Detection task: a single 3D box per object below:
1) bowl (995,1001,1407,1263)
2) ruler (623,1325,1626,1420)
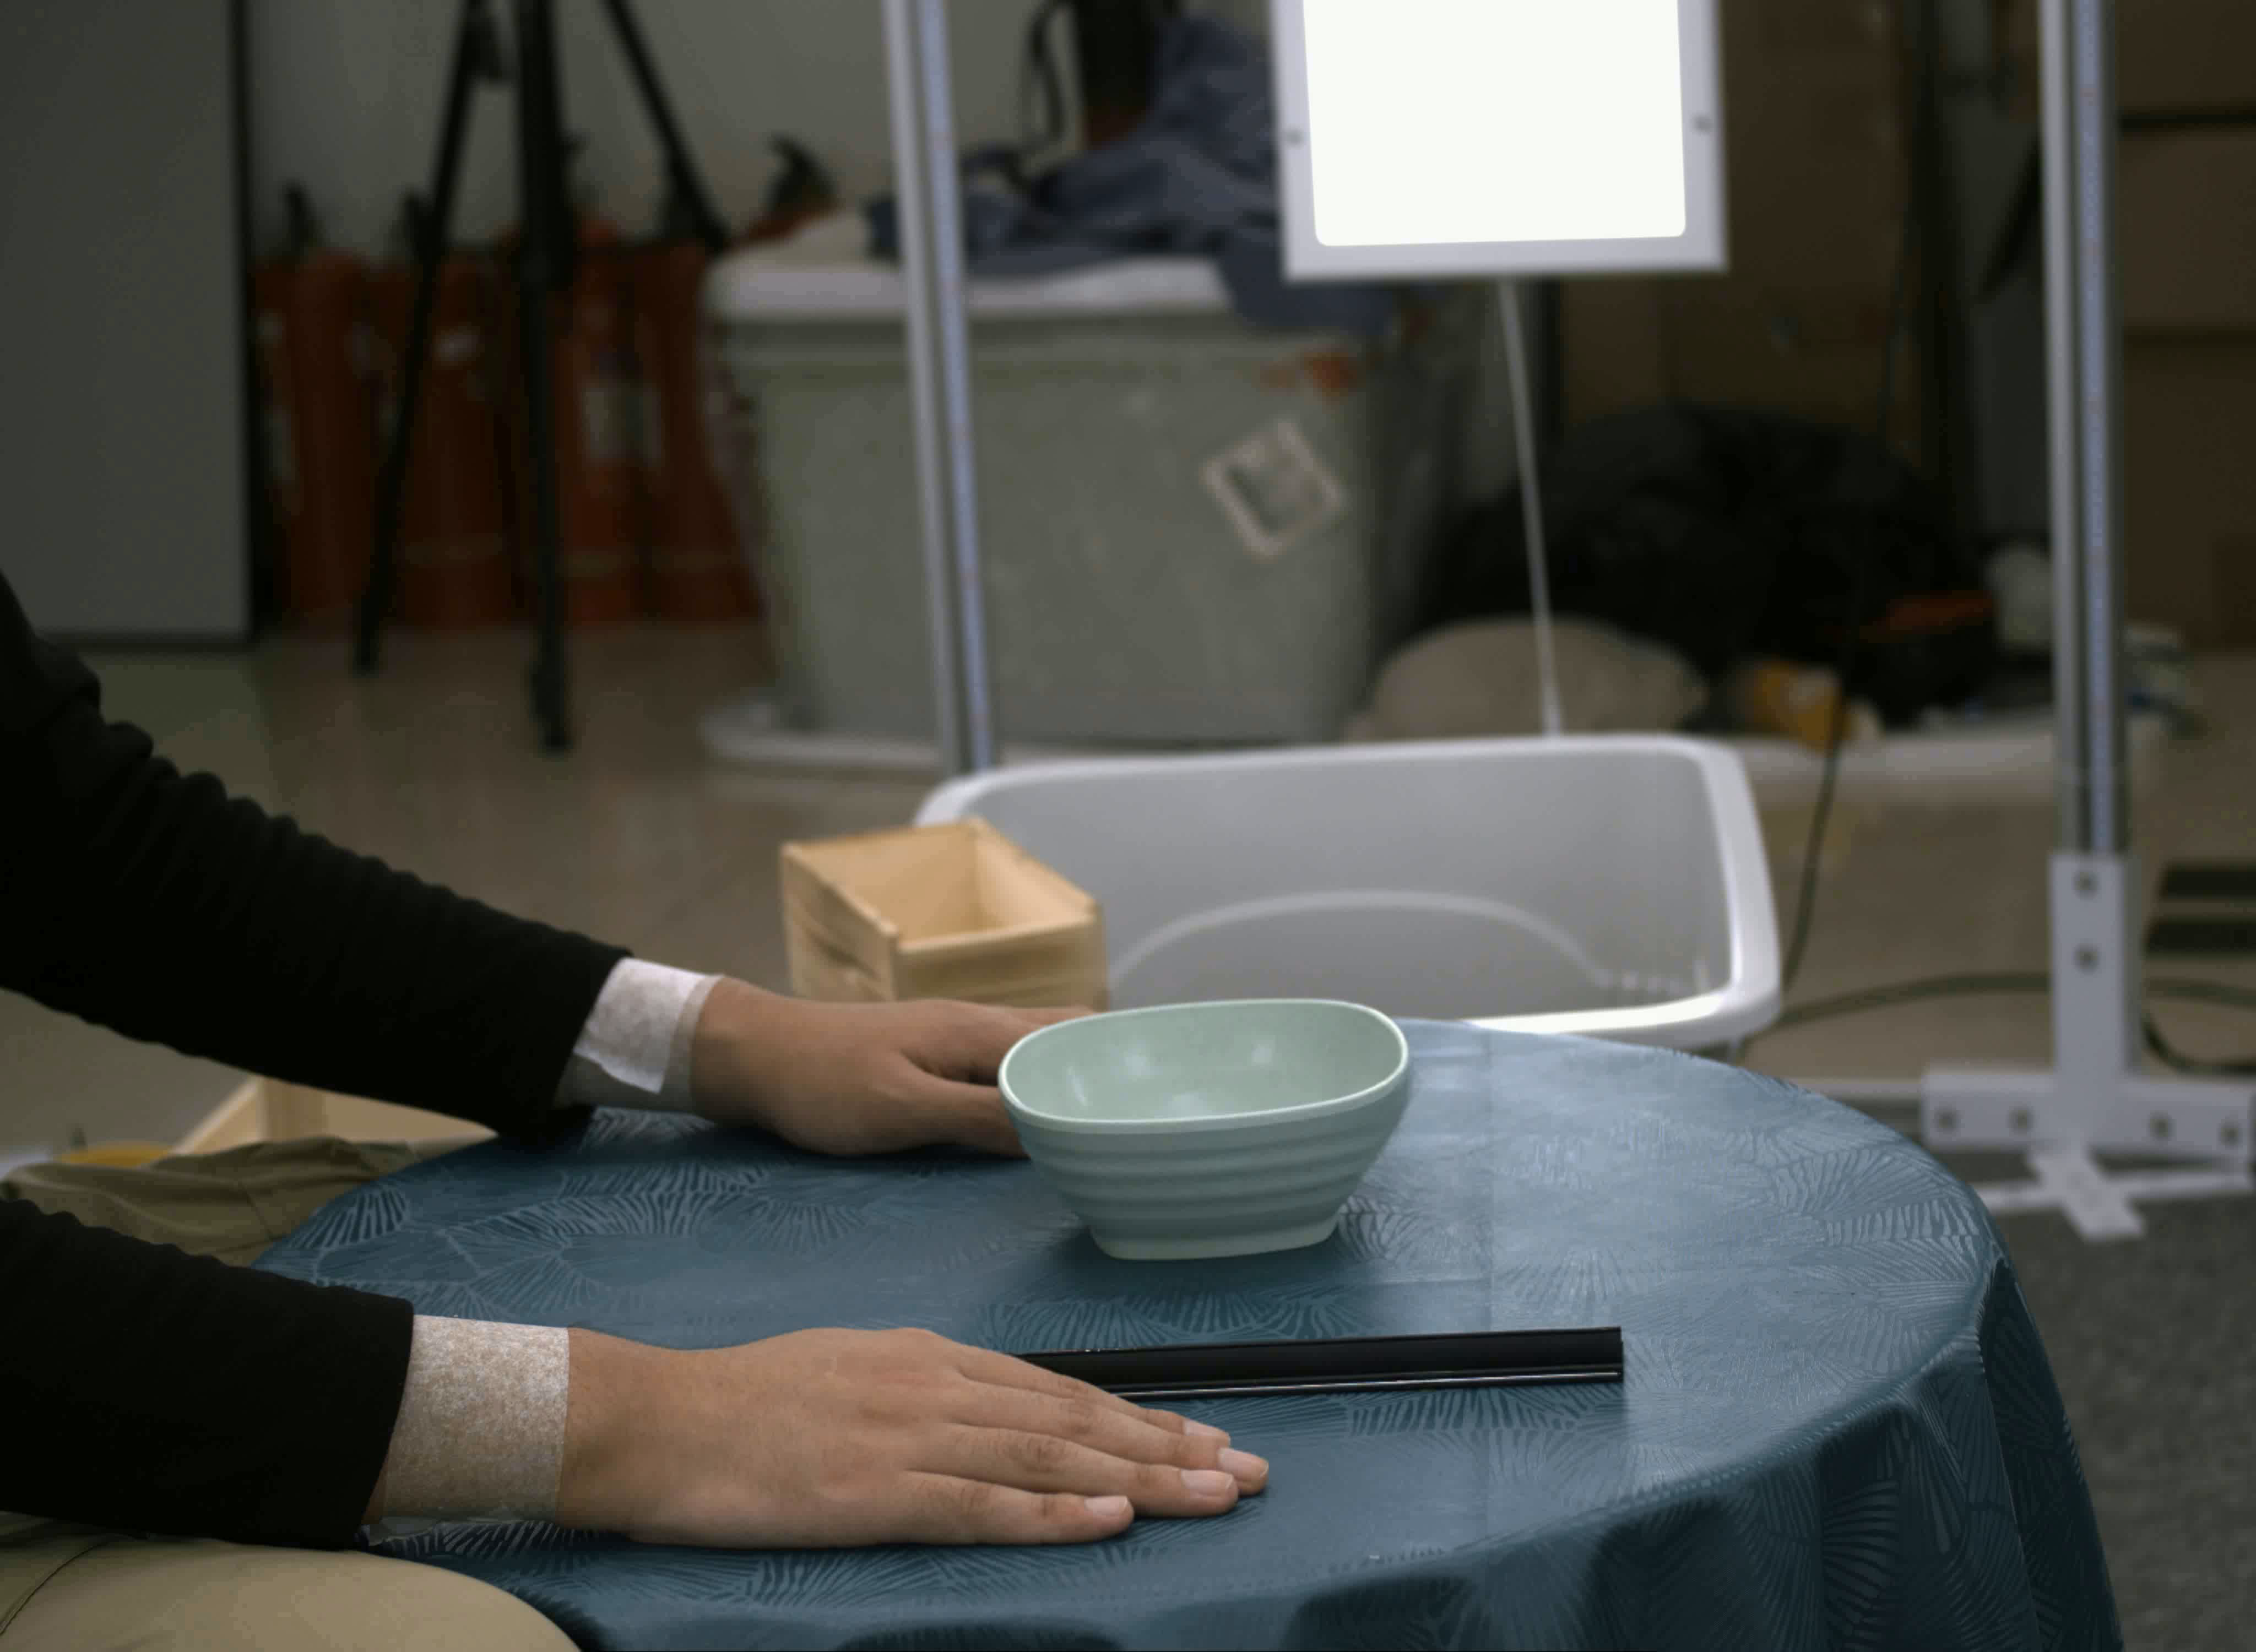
[{"bbox_3d":[0.026,0.106,1.855,0.151,0.059,0.151,-3,15,-1],"label":"bowl"},{"bbox_3d":[-0.002,0.165,1.709,0.314,0.017,0.039,-3,10,9],"label":"ruler"}]
